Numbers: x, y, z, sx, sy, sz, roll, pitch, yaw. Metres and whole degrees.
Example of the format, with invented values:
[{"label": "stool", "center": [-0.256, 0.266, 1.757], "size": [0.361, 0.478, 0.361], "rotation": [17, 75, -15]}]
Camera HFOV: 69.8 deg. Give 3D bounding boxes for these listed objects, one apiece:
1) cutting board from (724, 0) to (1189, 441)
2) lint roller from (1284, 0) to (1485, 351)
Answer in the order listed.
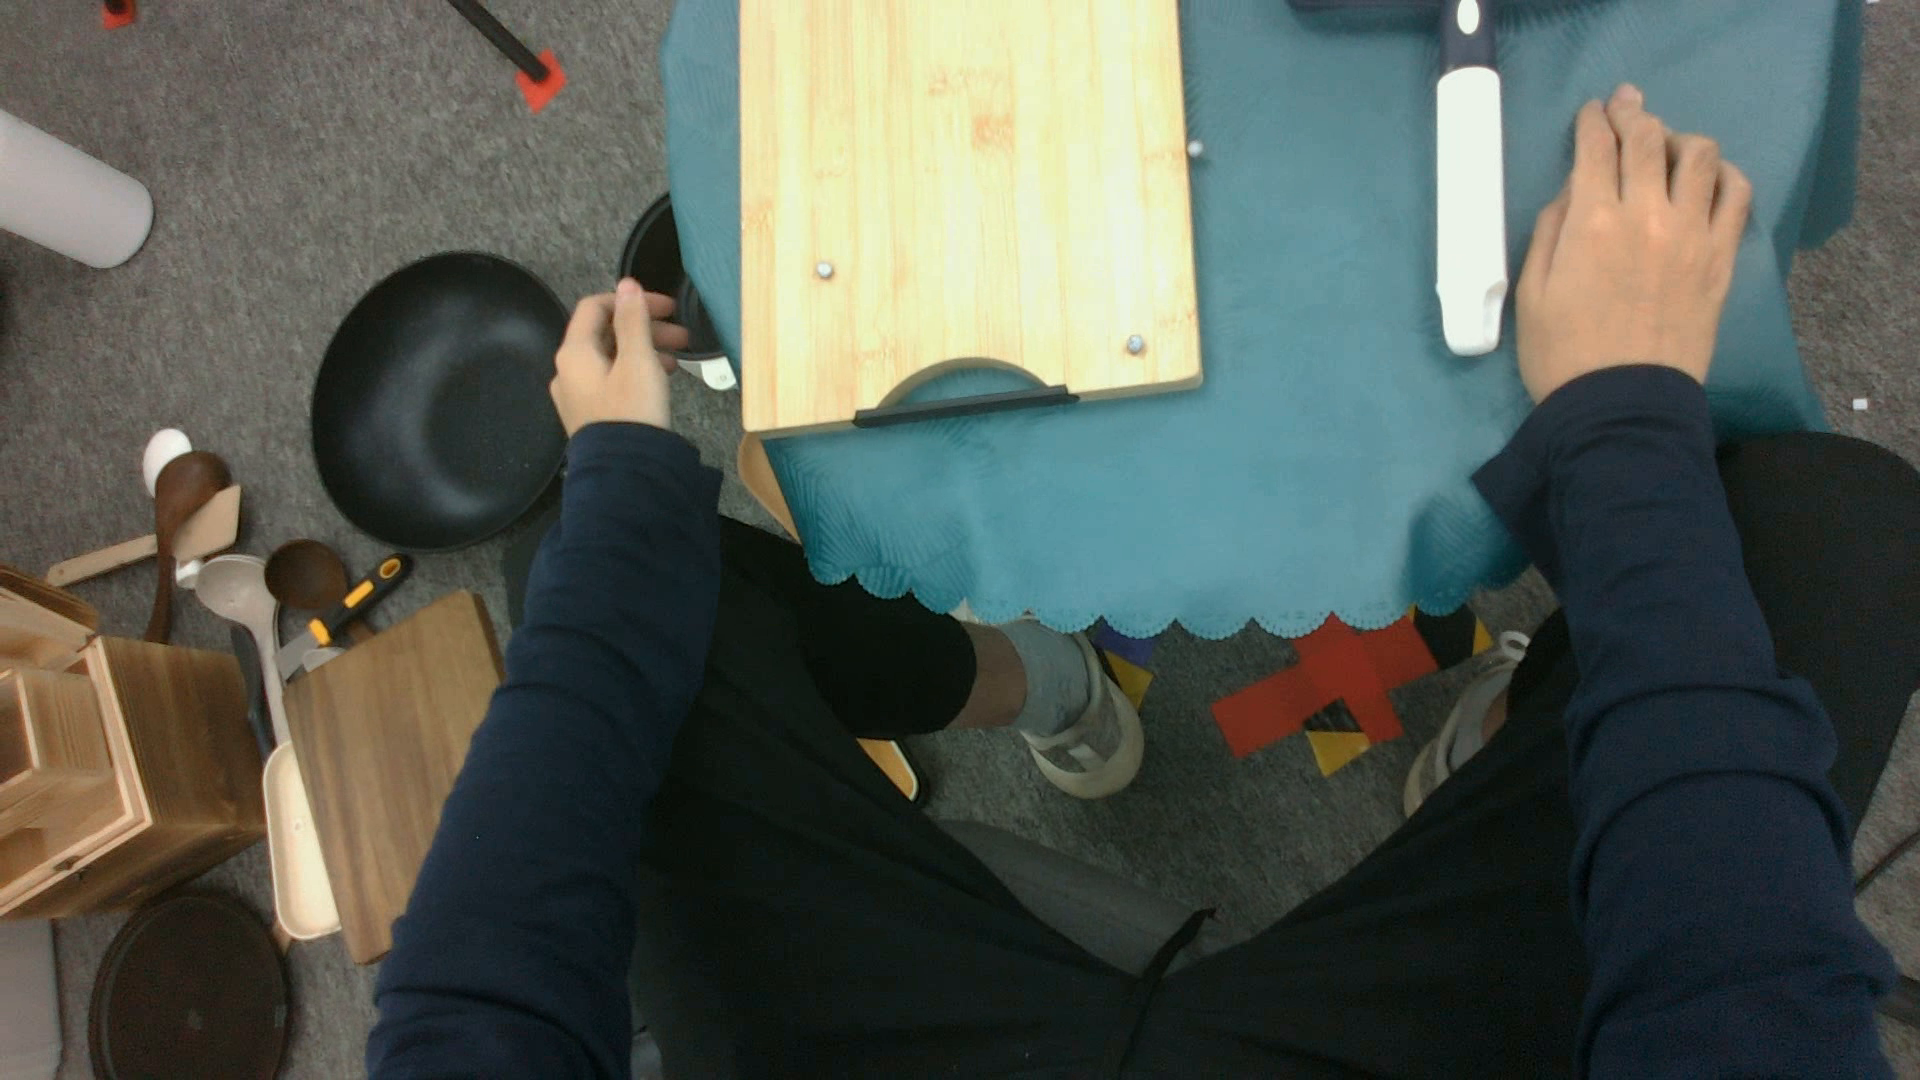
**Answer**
[{"label": "cutting board", "center": [-0.011, -0.232, 0.733], "size": [0.250, 0.023, 0.349], "rotation": [-6, 77, 15]}, {"label": "lint roller", "center": [0.232, -0.214, 0.650], "size": [0.176, 0.050, 0.247], "rotation": [-1, 81, 14]}]
